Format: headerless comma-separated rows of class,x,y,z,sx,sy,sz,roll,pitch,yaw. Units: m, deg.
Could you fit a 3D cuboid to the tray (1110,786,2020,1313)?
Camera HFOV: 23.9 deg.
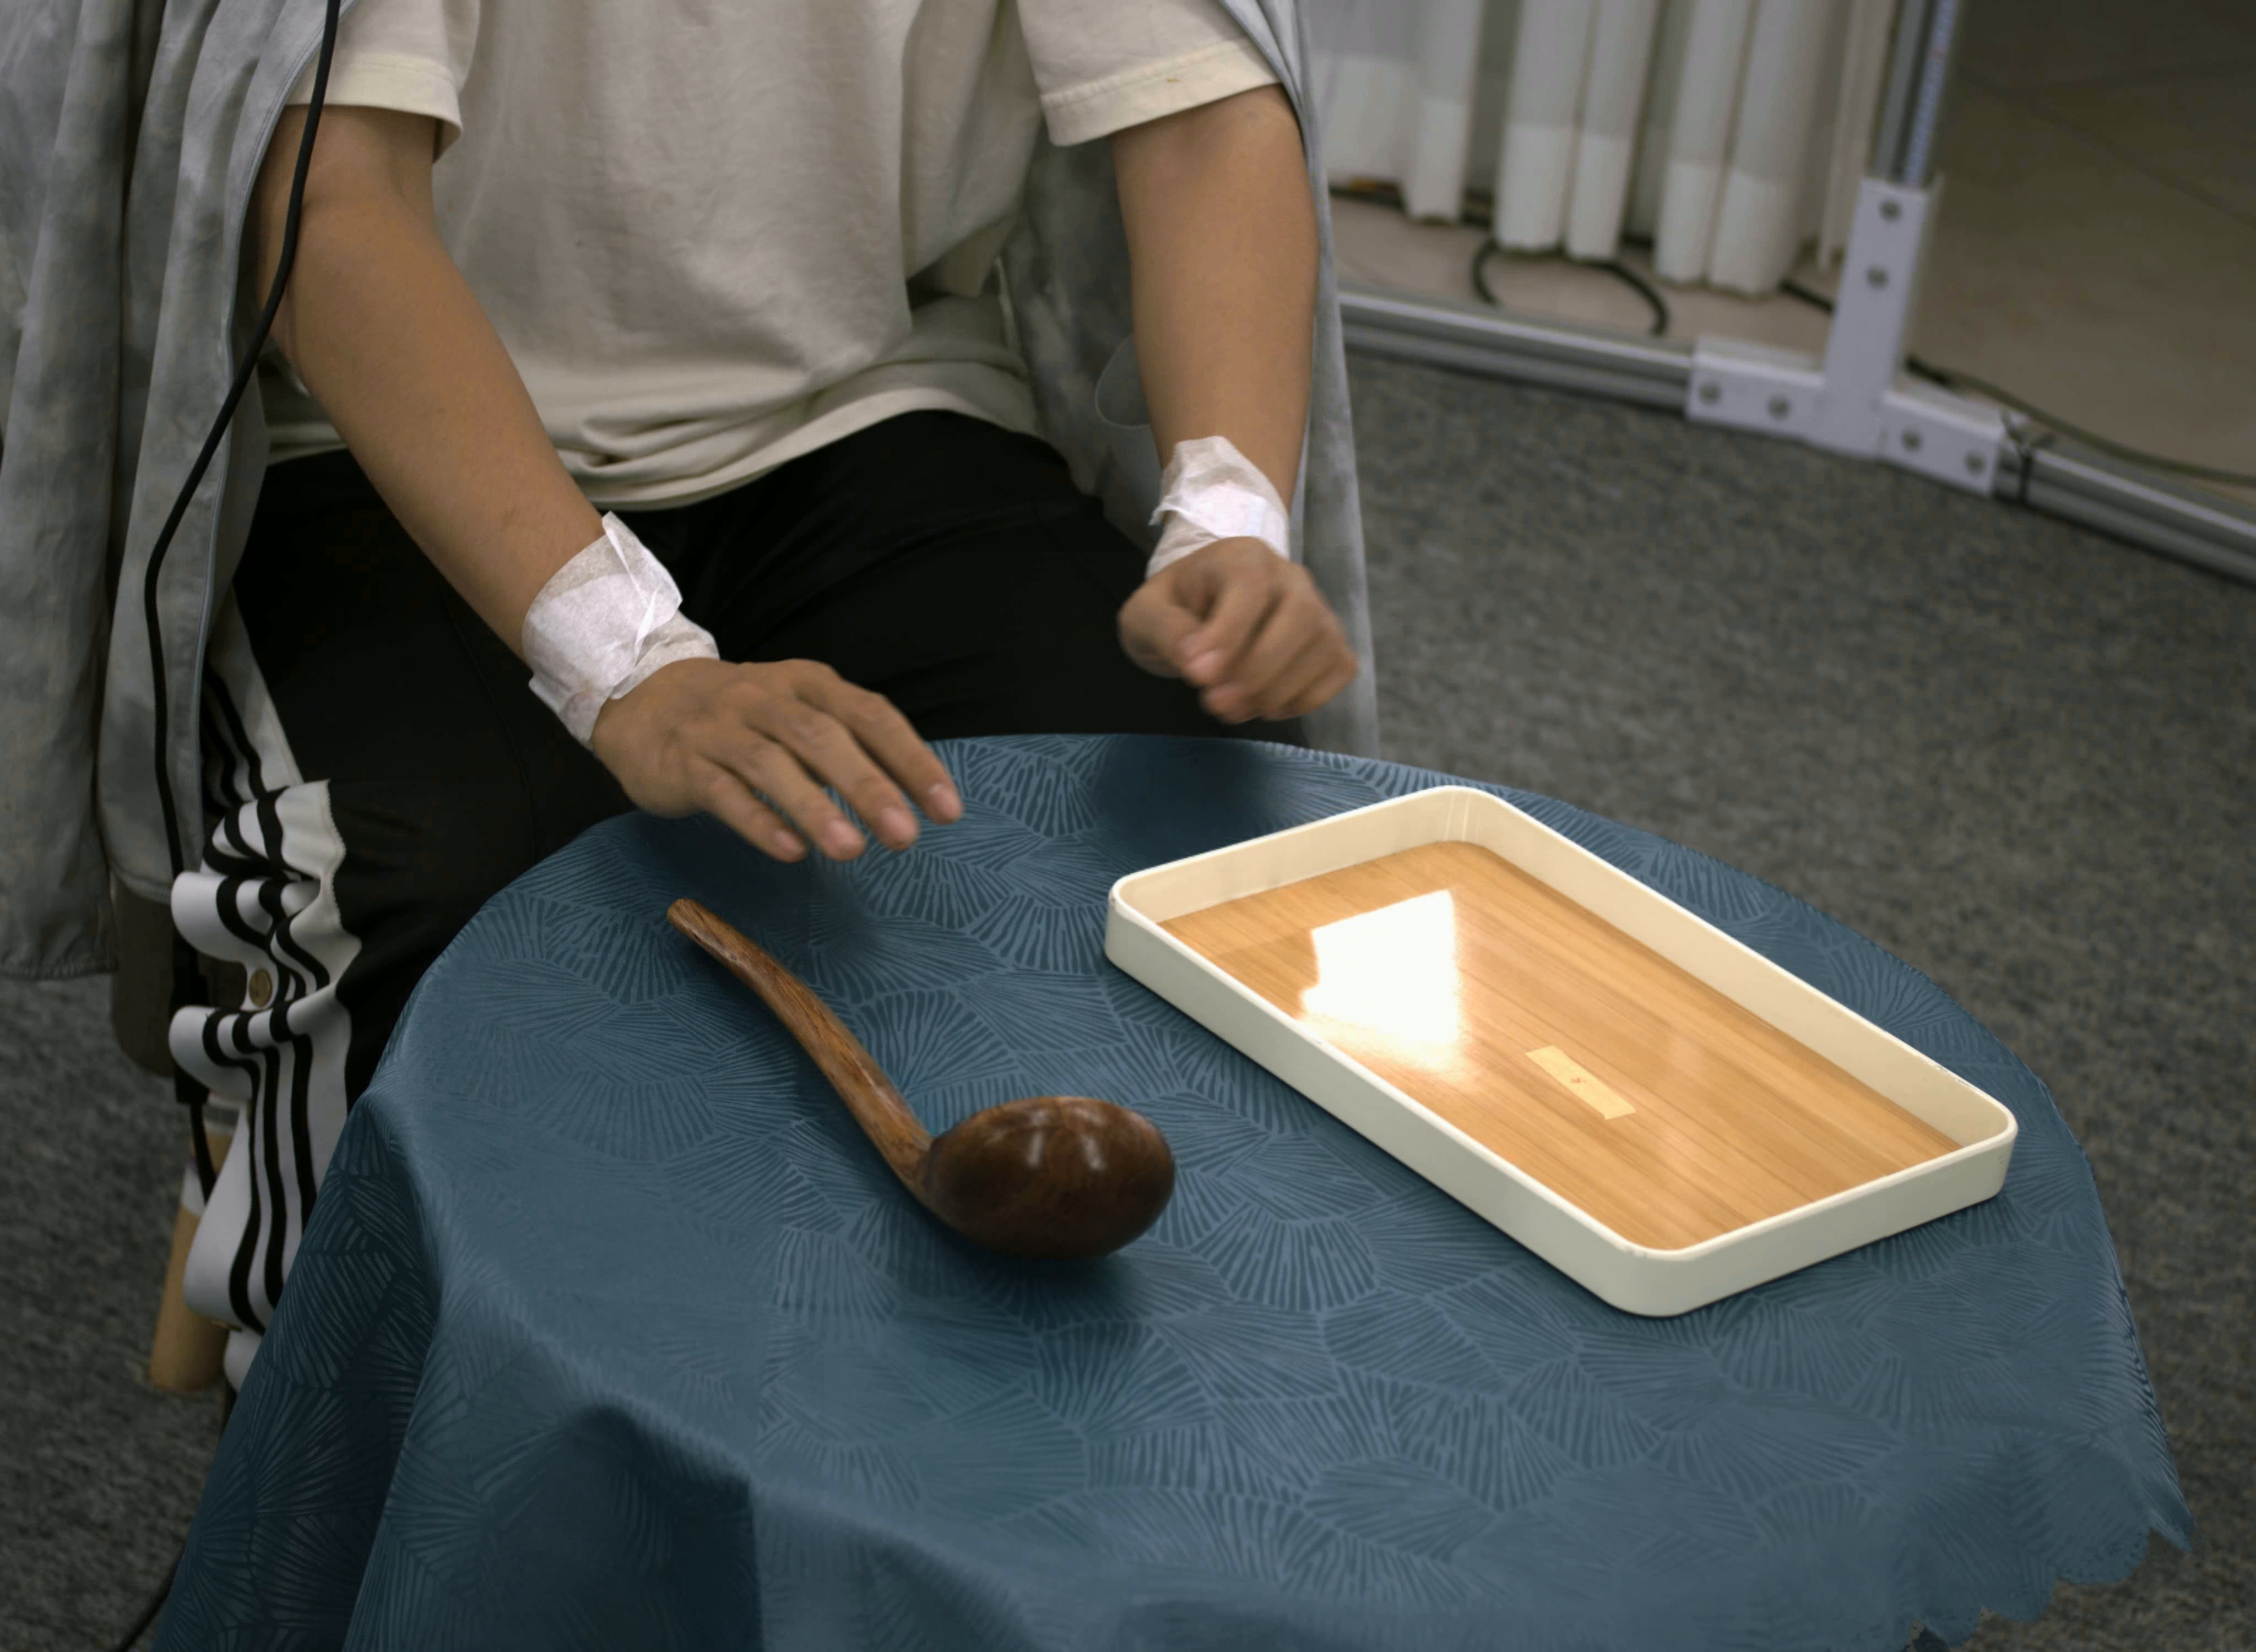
tray,0.152,0.074,1.906,0.190,0.027,0.303,-15,34,-36

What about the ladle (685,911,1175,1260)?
ladle,-0.074,0.069,1.819,0.081,0.076,0.276,40,2,-38
